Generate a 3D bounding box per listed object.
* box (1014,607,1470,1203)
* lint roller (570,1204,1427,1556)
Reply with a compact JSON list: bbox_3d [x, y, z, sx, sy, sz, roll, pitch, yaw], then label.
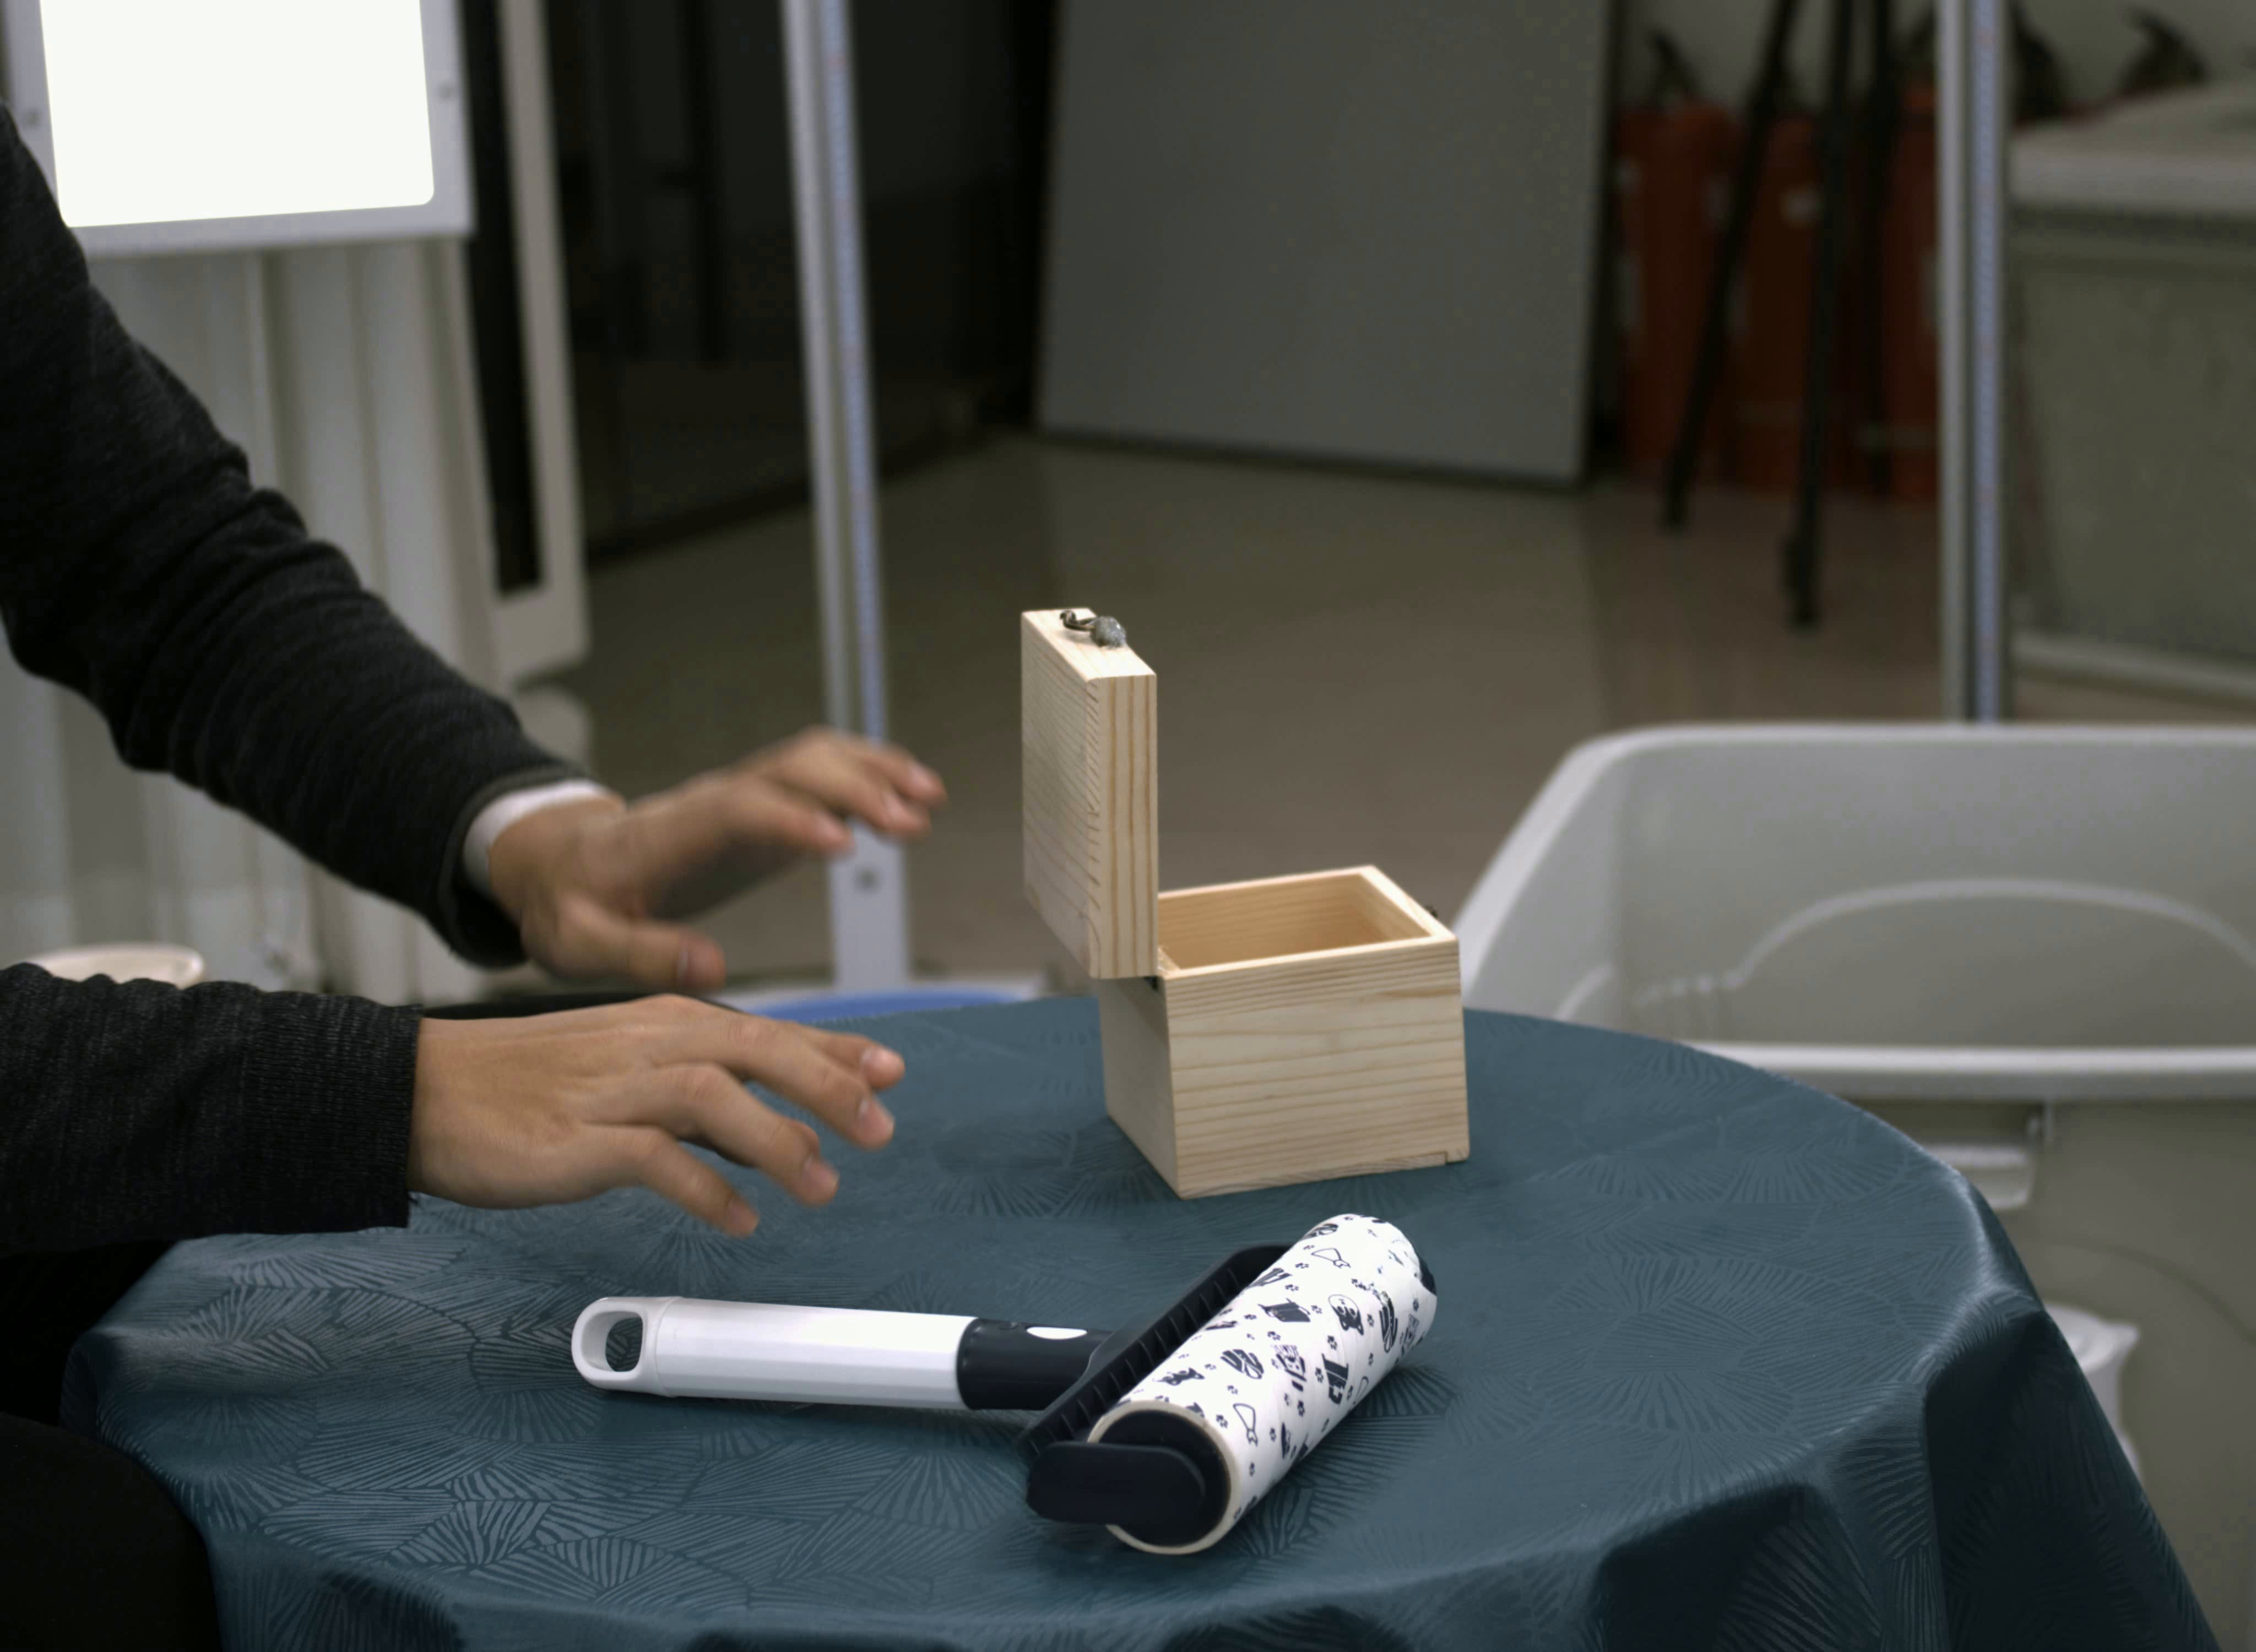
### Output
[{"bbox_3d":[0.038,0.019,1.791,0.131,0.186,0.103,-8,13,-12],"label":"box"},{"bbox_3d":[-0.053,0.153,1.563,0.247,0.051,0.174,1,16,24],"label":"lint roller"}]
